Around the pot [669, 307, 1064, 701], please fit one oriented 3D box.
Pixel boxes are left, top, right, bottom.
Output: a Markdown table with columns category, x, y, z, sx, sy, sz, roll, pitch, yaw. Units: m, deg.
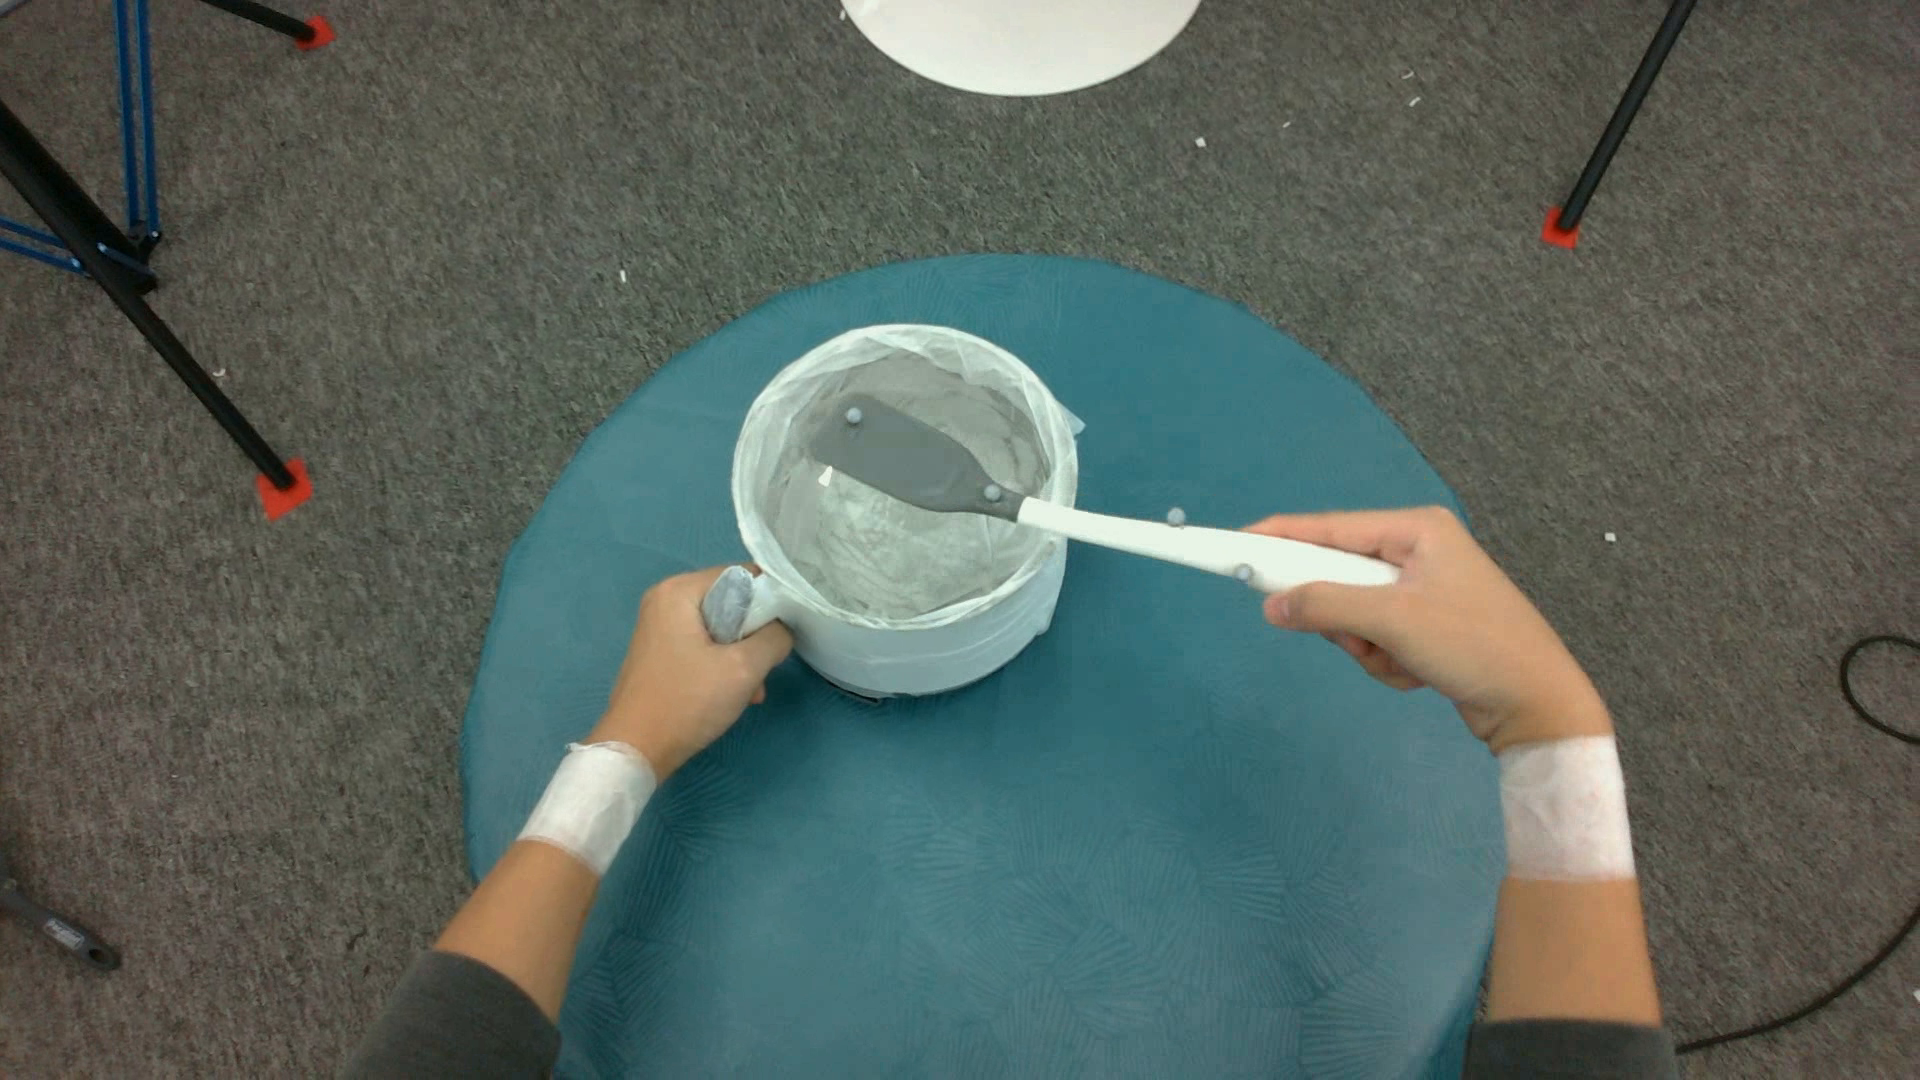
| category | x | y | z | sx | sy | sz | roll | pitch | yaw |
| --- | --- | --- | --- | --- | --- | --- | --- | --- | --- |
| pot | -0.057 | -0.002 | 0.748 | 0.234 | 0.136 | 0.179 | -37 | 70 | -16 |

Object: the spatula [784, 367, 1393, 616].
| category | x | y | z | sx | sy | sz | roll | pitch | yaw |
| --- | --- | --- | --- | --- | --- | --- | --- | --- | --- |
| spatula | 0.054 | -0.022 | 0.642 | 0.287 | 0.032 | 0.059 | 17 | 55 | 15 |
